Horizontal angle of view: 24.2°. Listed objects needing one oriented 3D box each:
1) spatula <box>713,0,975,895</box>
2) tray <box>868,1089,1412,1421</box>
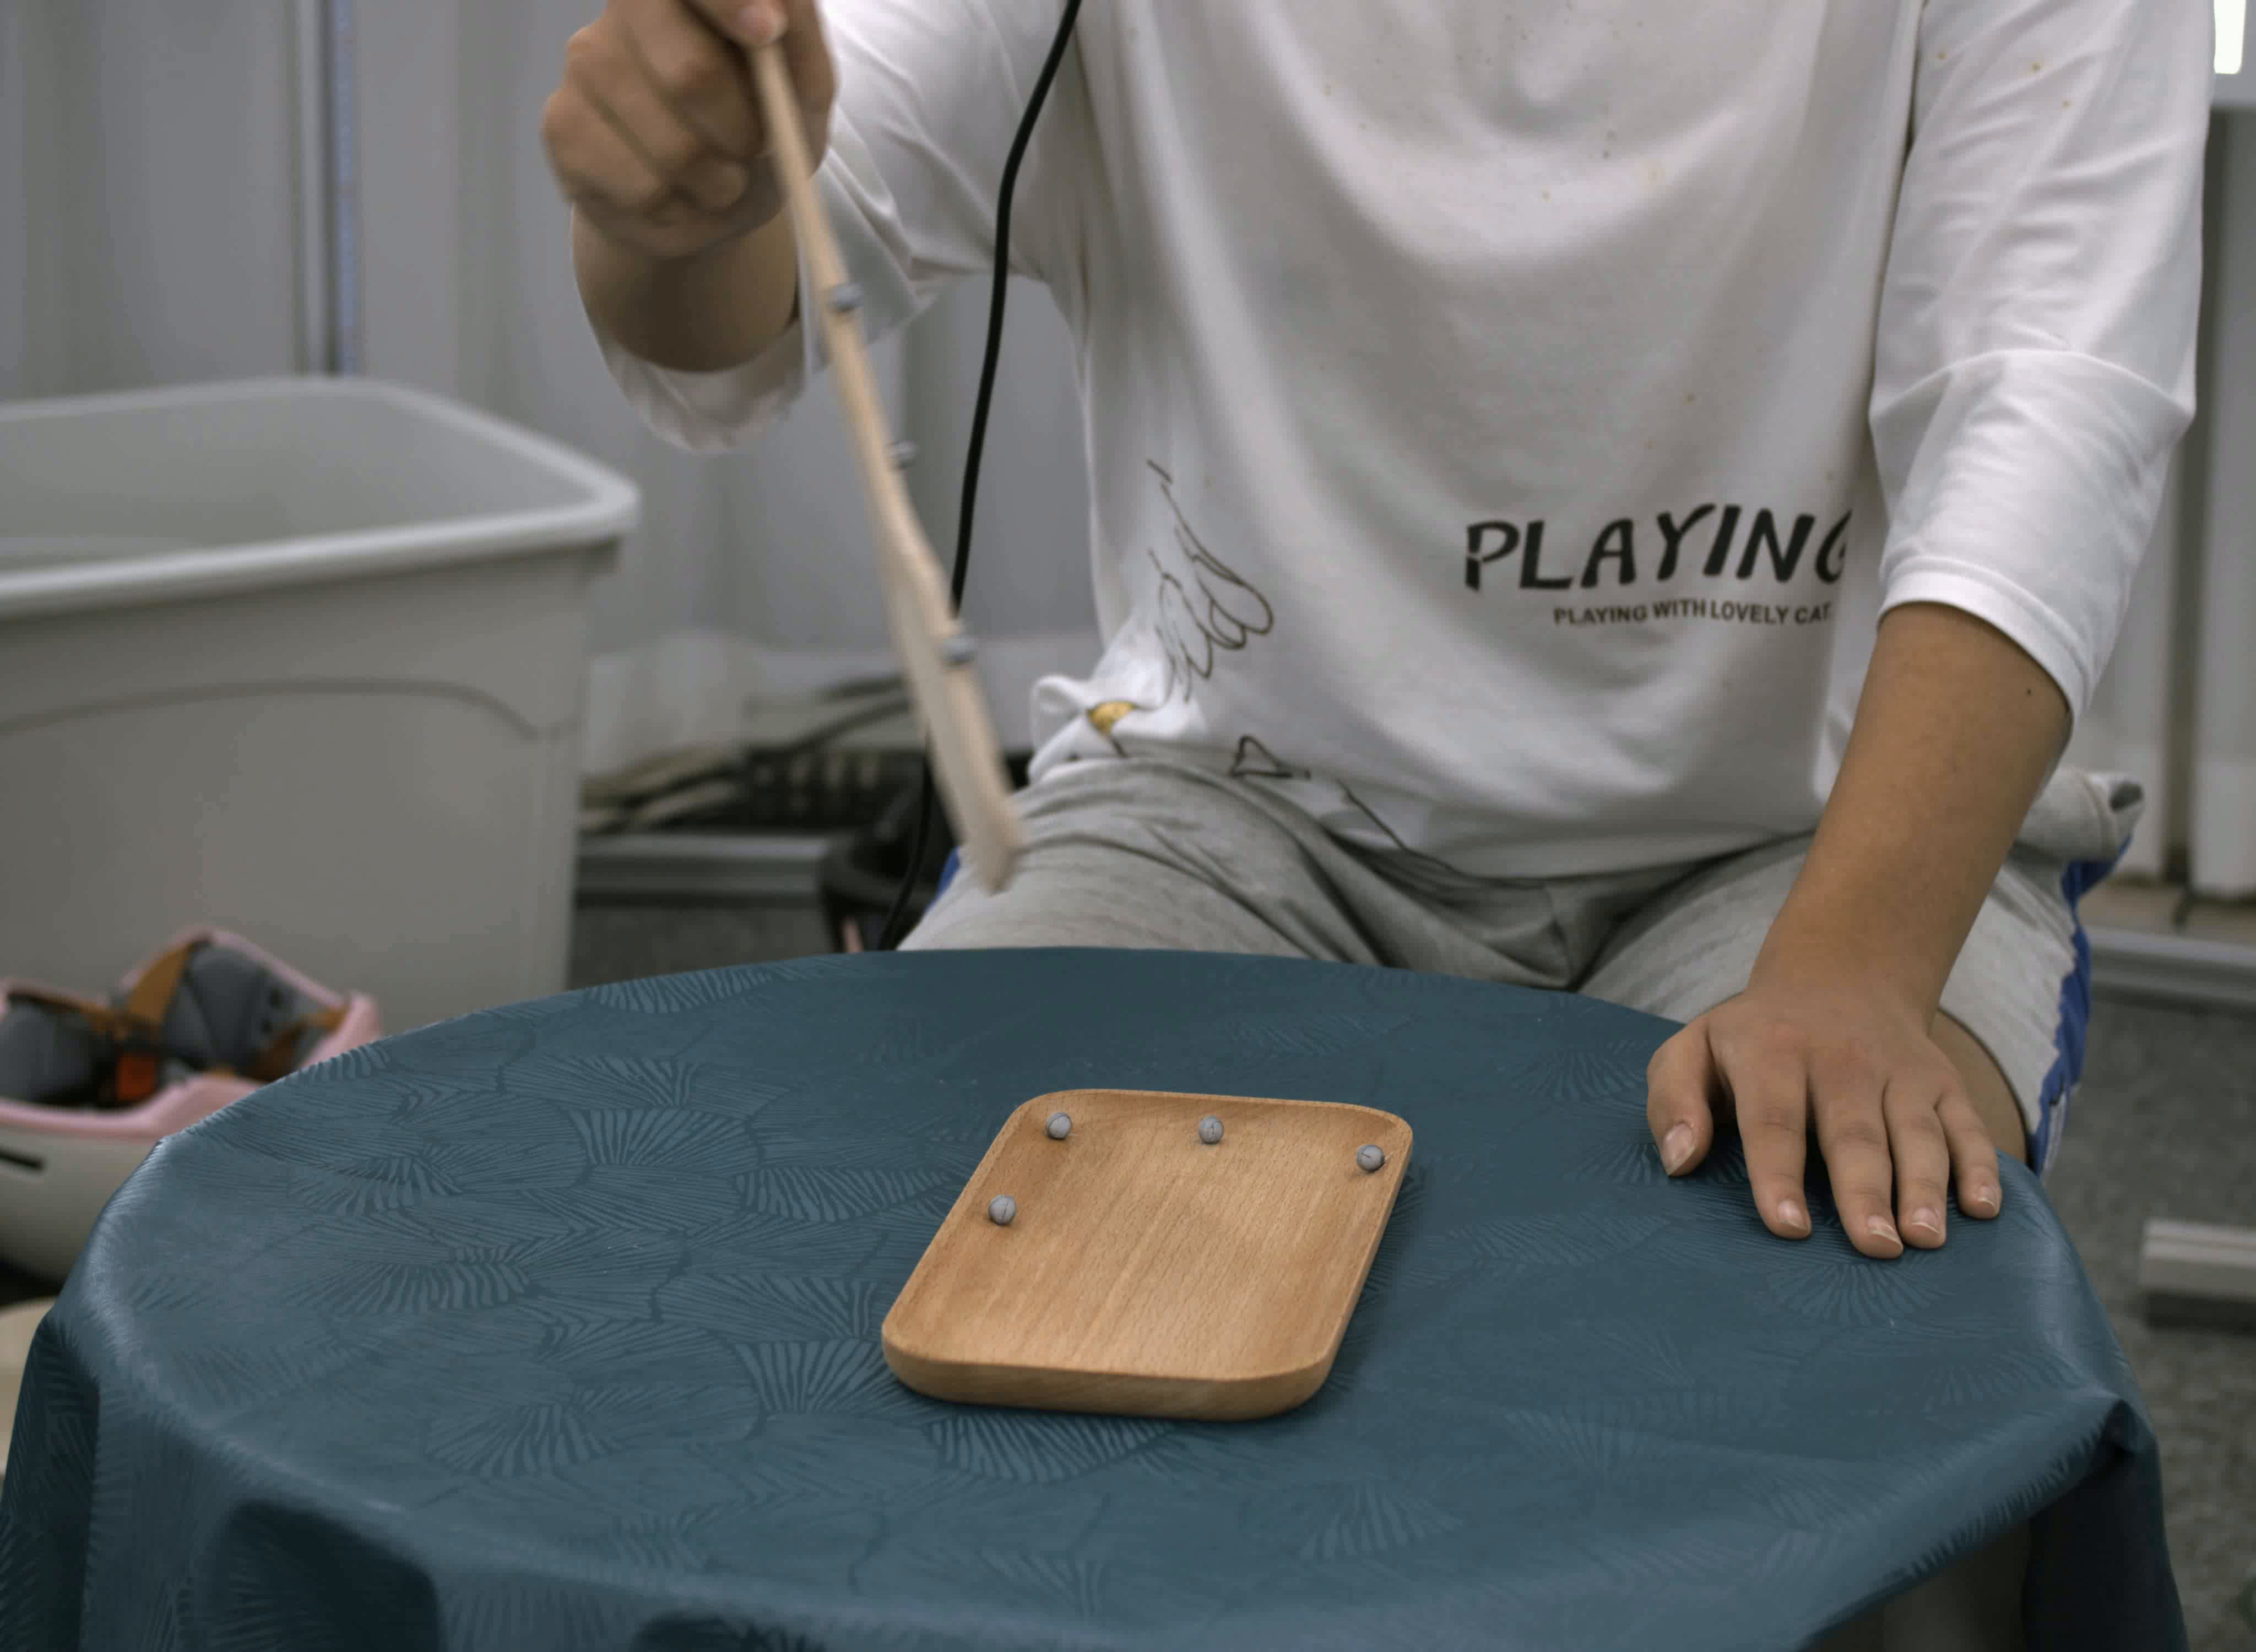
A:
[{"bbox_3d":[-0.086,-0.124,1.519,0.010,0.292,0.072,-13,-9,-10],"label":"spatula"},{"bbox_3d":[0.008,0.124,1.558,0.129,0.023,0.250,1,15,11],"label":"tray"}]
